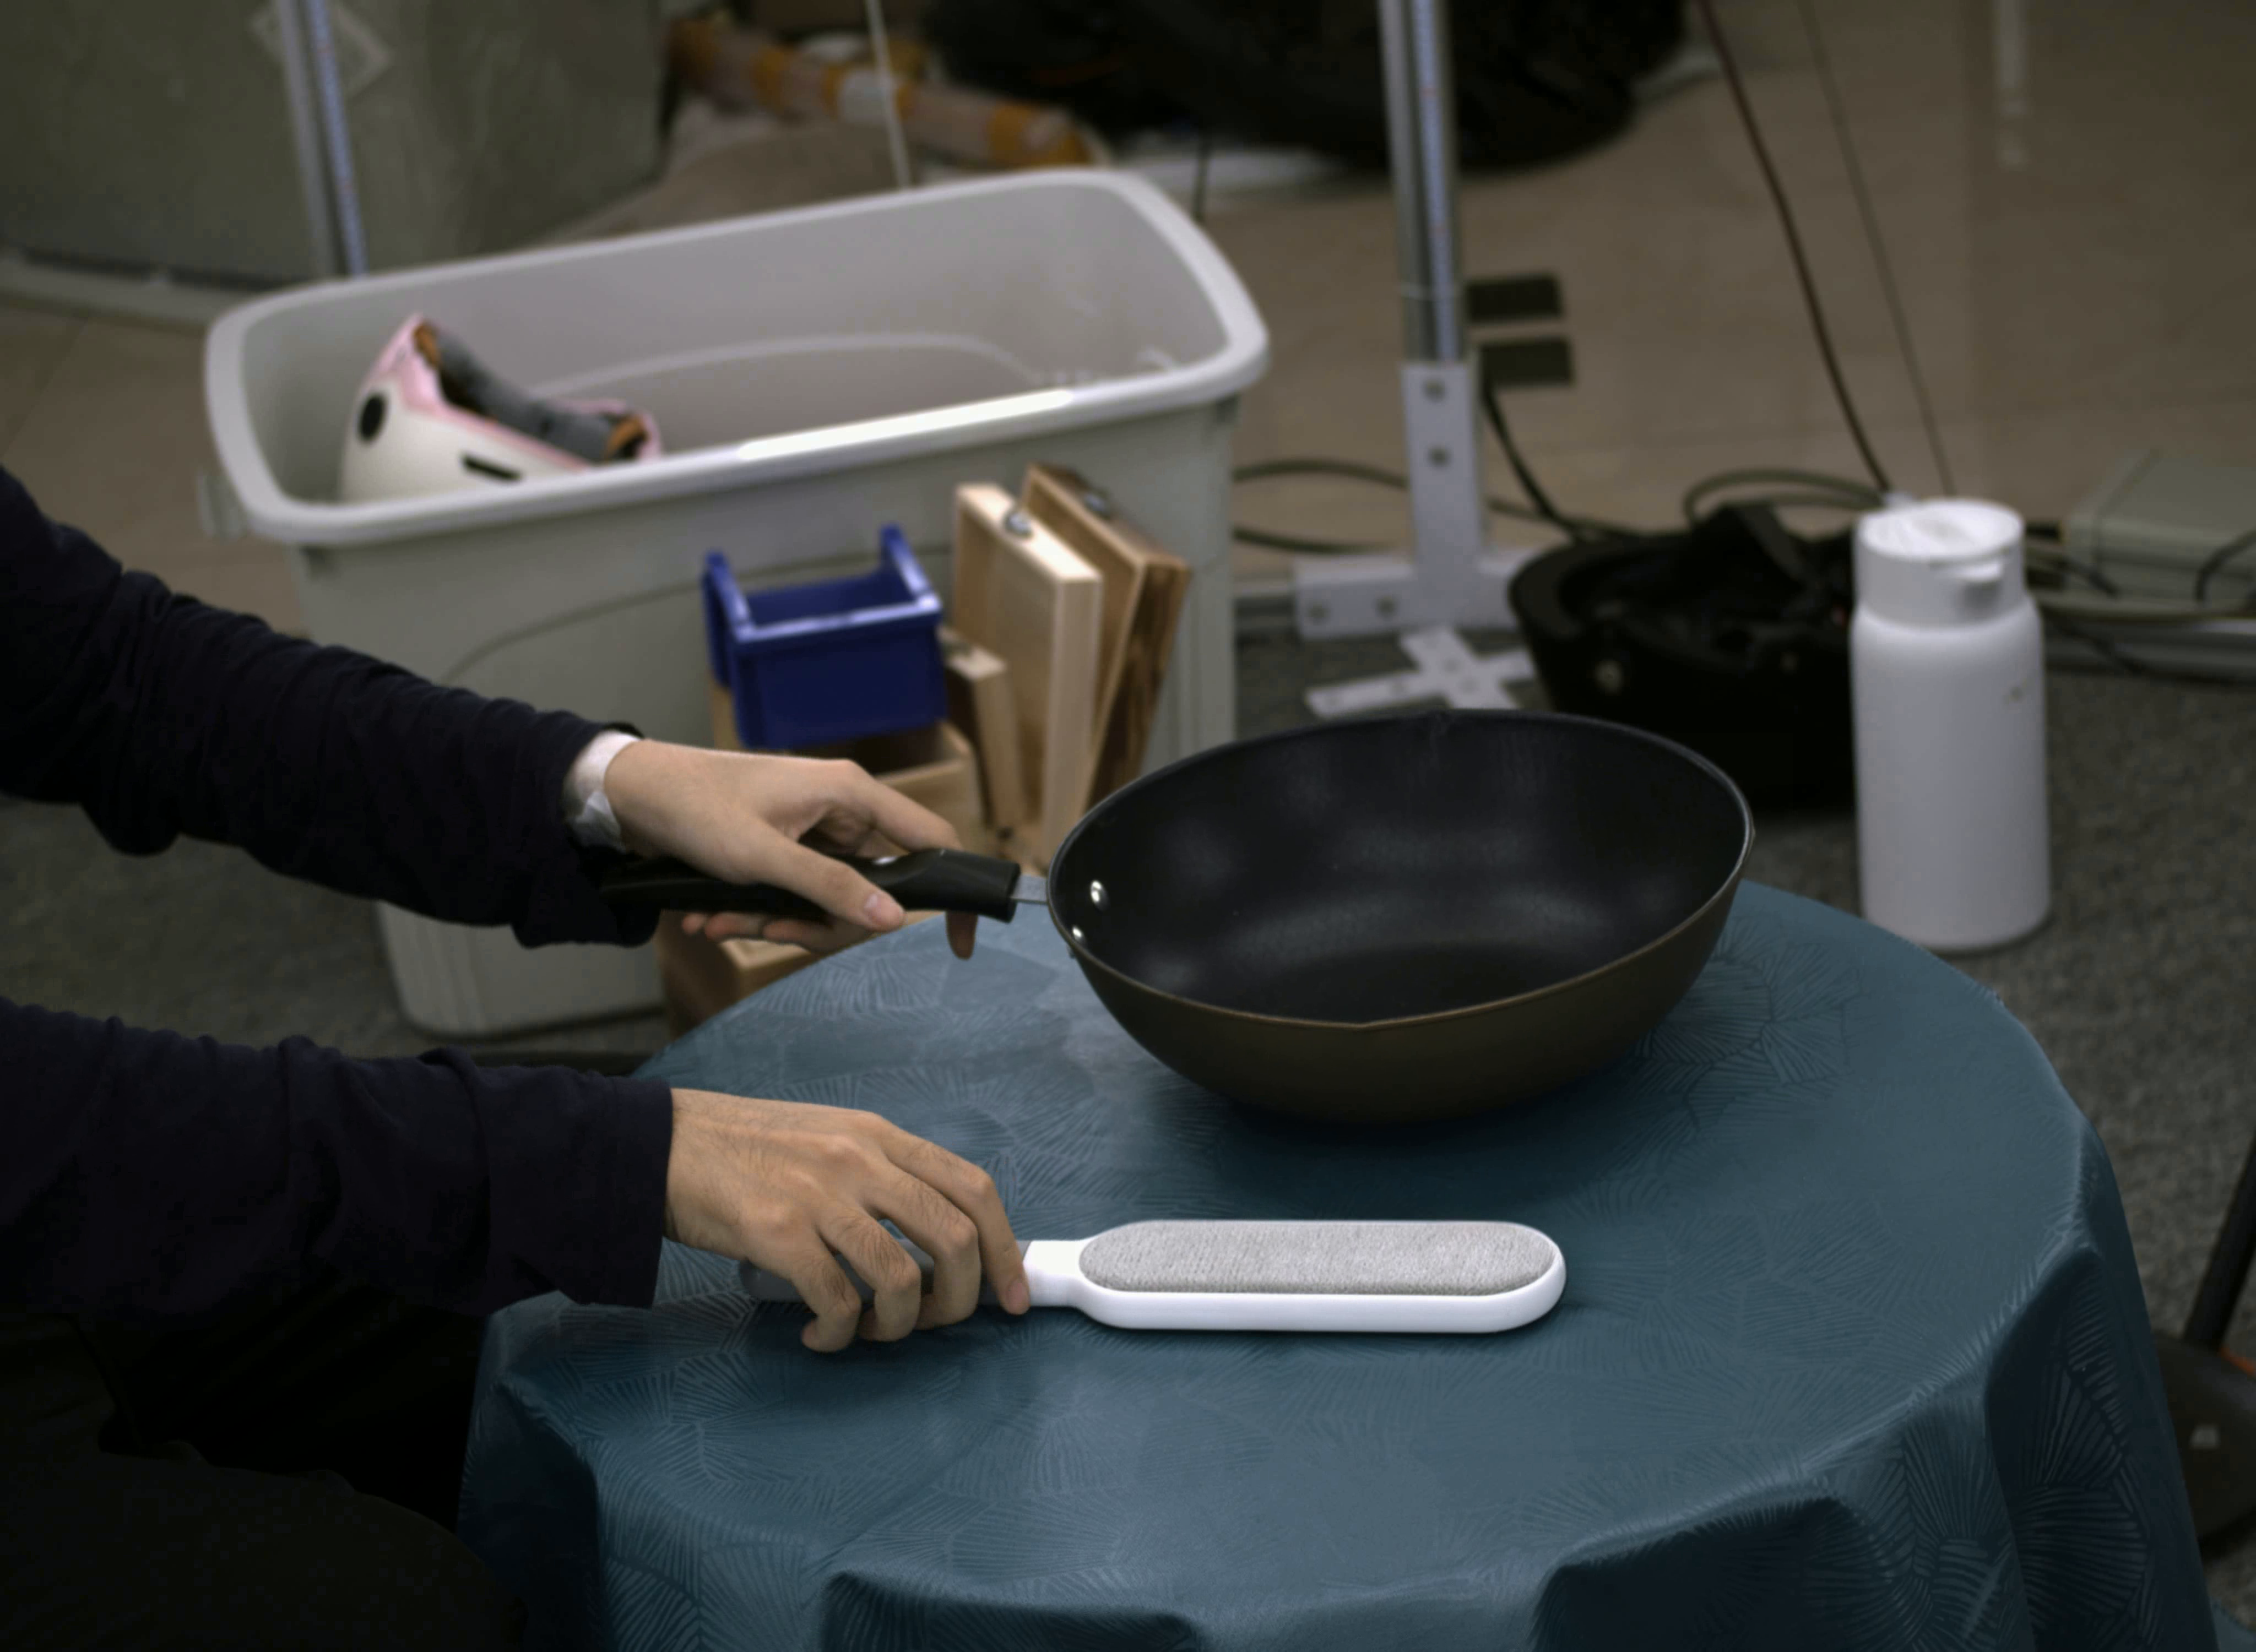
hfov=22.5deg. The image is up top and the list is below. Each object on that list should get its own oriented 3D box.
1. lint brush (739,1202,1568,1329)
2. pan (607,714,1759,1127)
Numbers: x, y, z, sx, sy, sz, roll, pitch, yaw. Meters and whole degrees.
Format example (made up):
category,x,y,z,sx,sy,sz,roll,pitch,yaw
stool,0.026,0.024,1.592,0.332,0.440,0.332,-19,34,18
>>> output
category,x,y,z,sx,sy,sz,roll,pitch,yaw
lint brush,0.006,0.159,2.071,0.308,0.021,0.059,0,33,13
pan,0.020,0.048,2.244,0.462,0.088,0.284,-1,25,12
